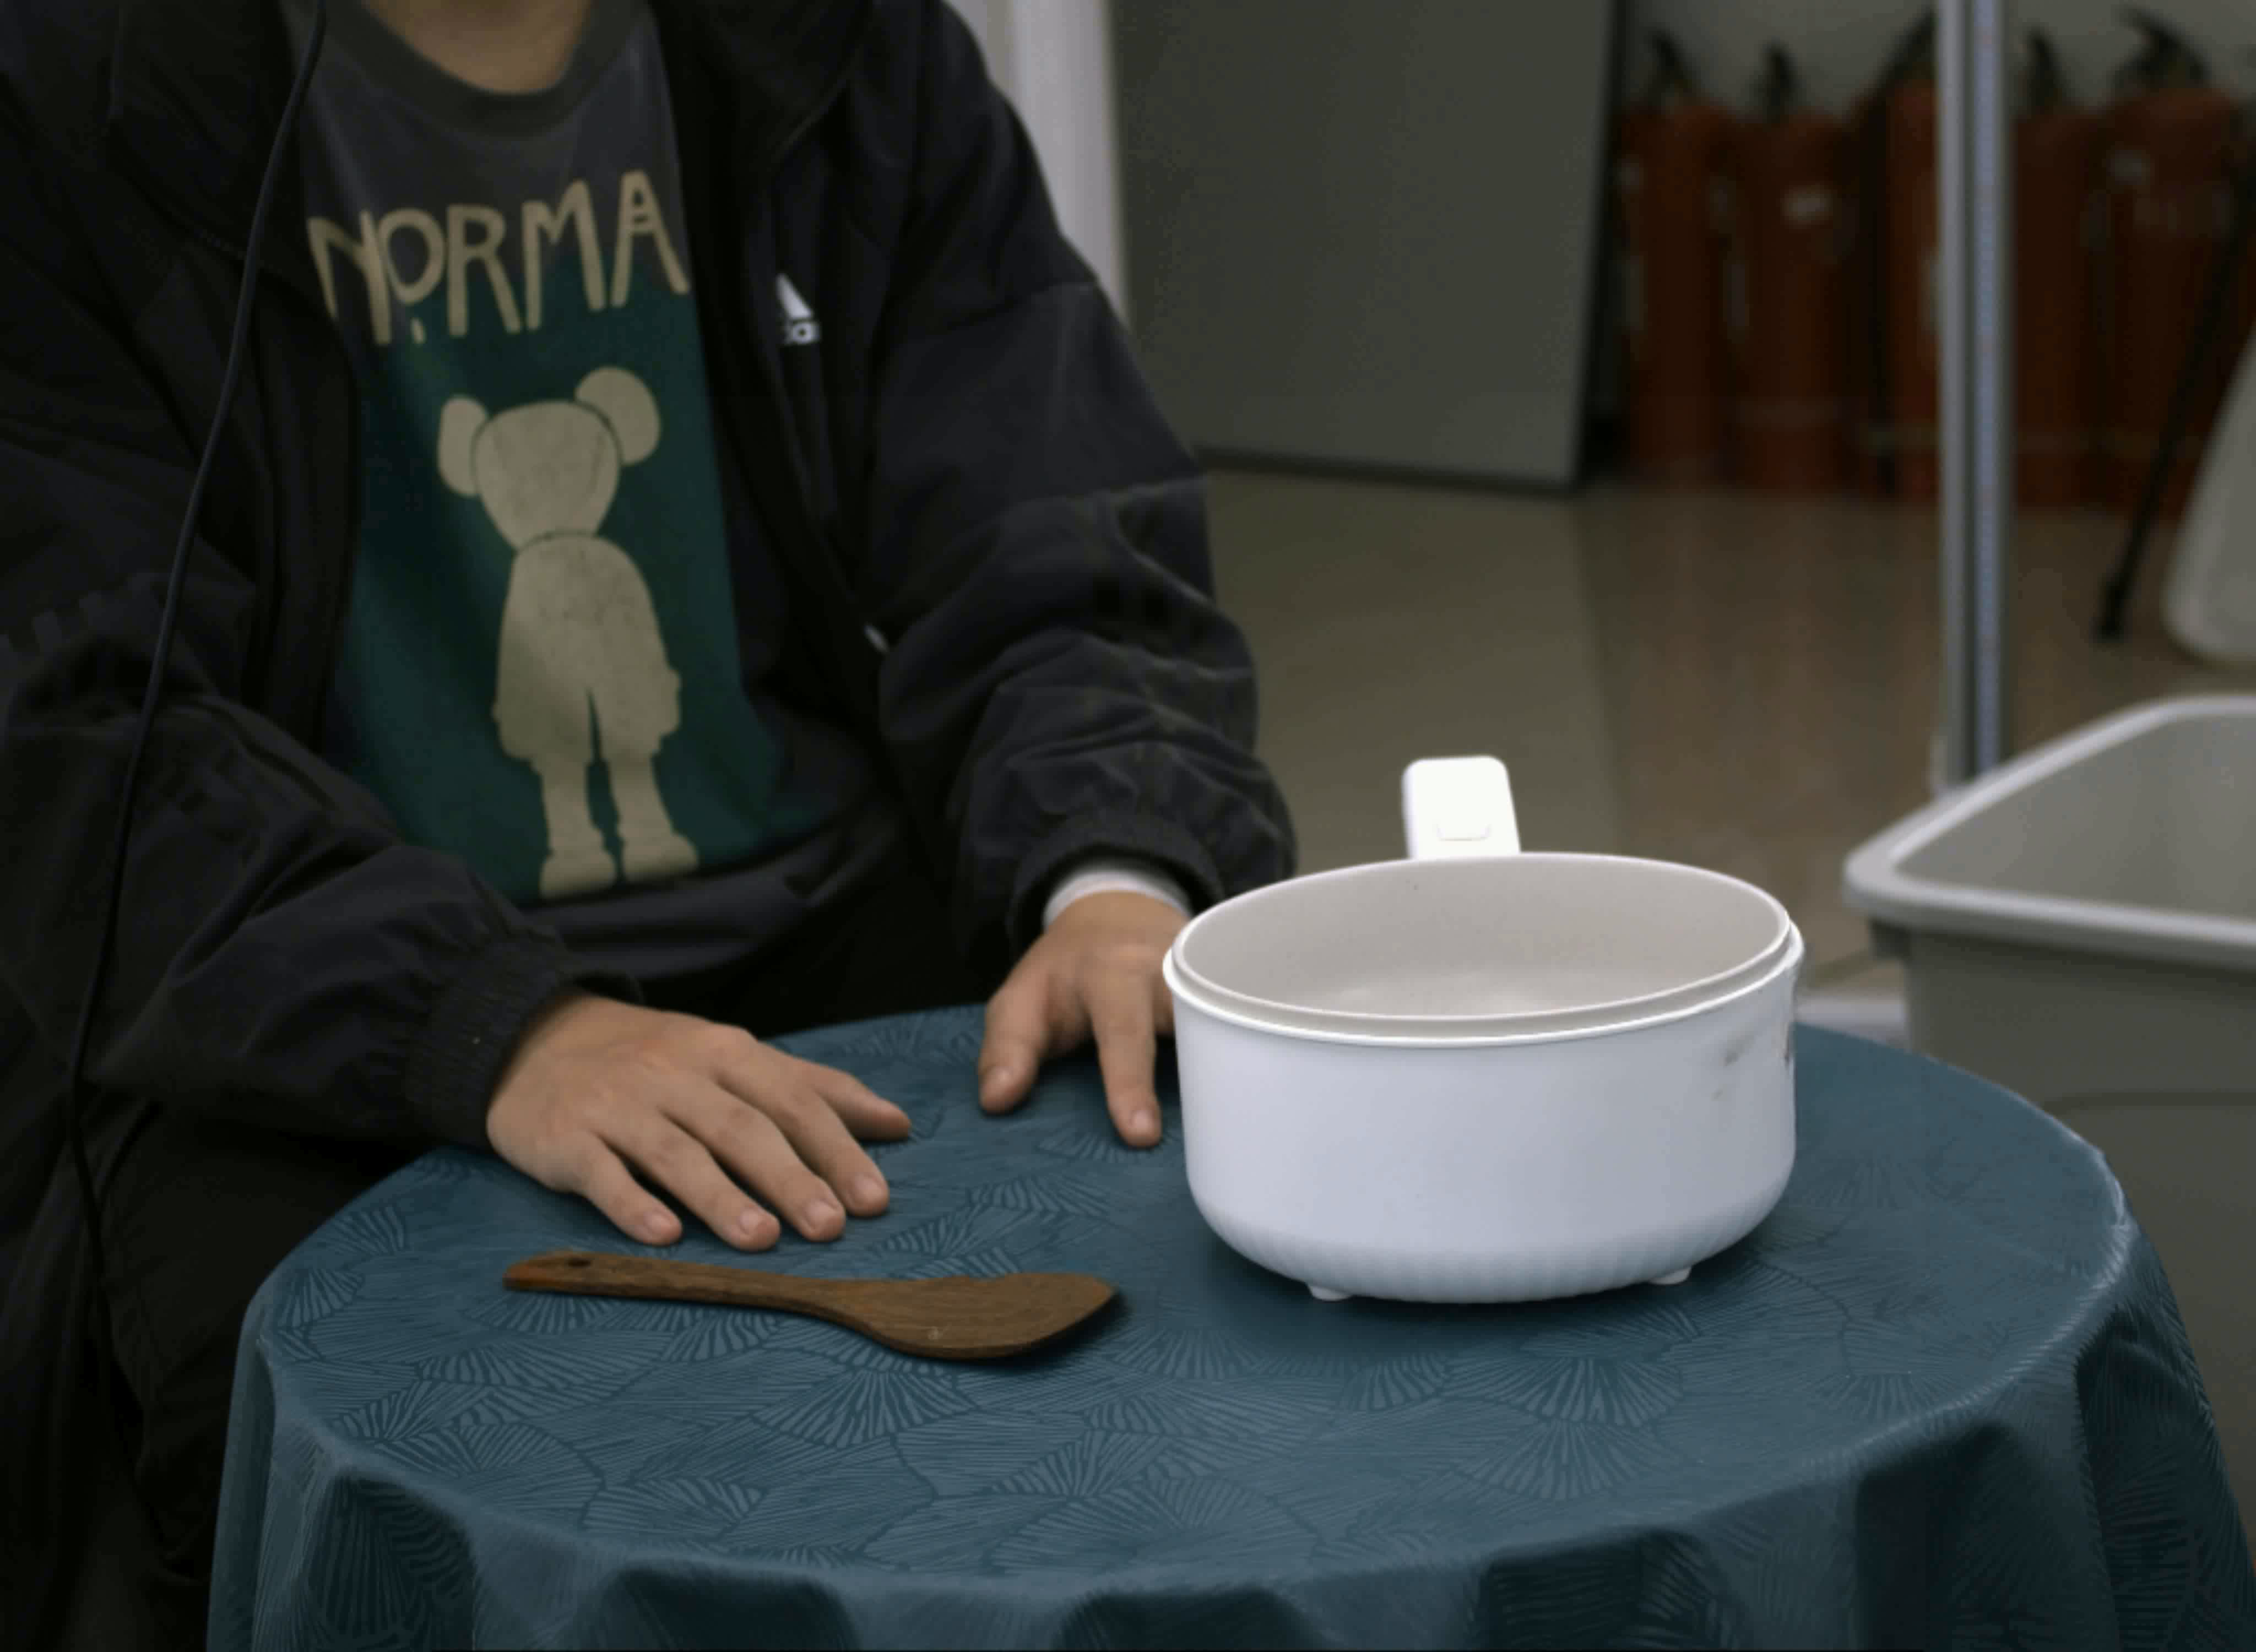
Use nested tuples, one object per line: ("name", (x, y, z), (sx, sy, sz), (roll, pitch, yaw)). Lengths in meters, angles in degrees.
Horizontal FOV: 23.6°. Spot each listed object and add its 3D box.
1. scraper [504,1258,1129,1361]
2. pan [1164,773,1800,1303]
("scraper", (-0.102, 0.147, 1.682), (0.212, 0.011, 0.075), (2, 14, 28))
("pan", (0.116, 0.065, 1.768), (0.199, 0.103, 0.354), (-4, 12, 3))
